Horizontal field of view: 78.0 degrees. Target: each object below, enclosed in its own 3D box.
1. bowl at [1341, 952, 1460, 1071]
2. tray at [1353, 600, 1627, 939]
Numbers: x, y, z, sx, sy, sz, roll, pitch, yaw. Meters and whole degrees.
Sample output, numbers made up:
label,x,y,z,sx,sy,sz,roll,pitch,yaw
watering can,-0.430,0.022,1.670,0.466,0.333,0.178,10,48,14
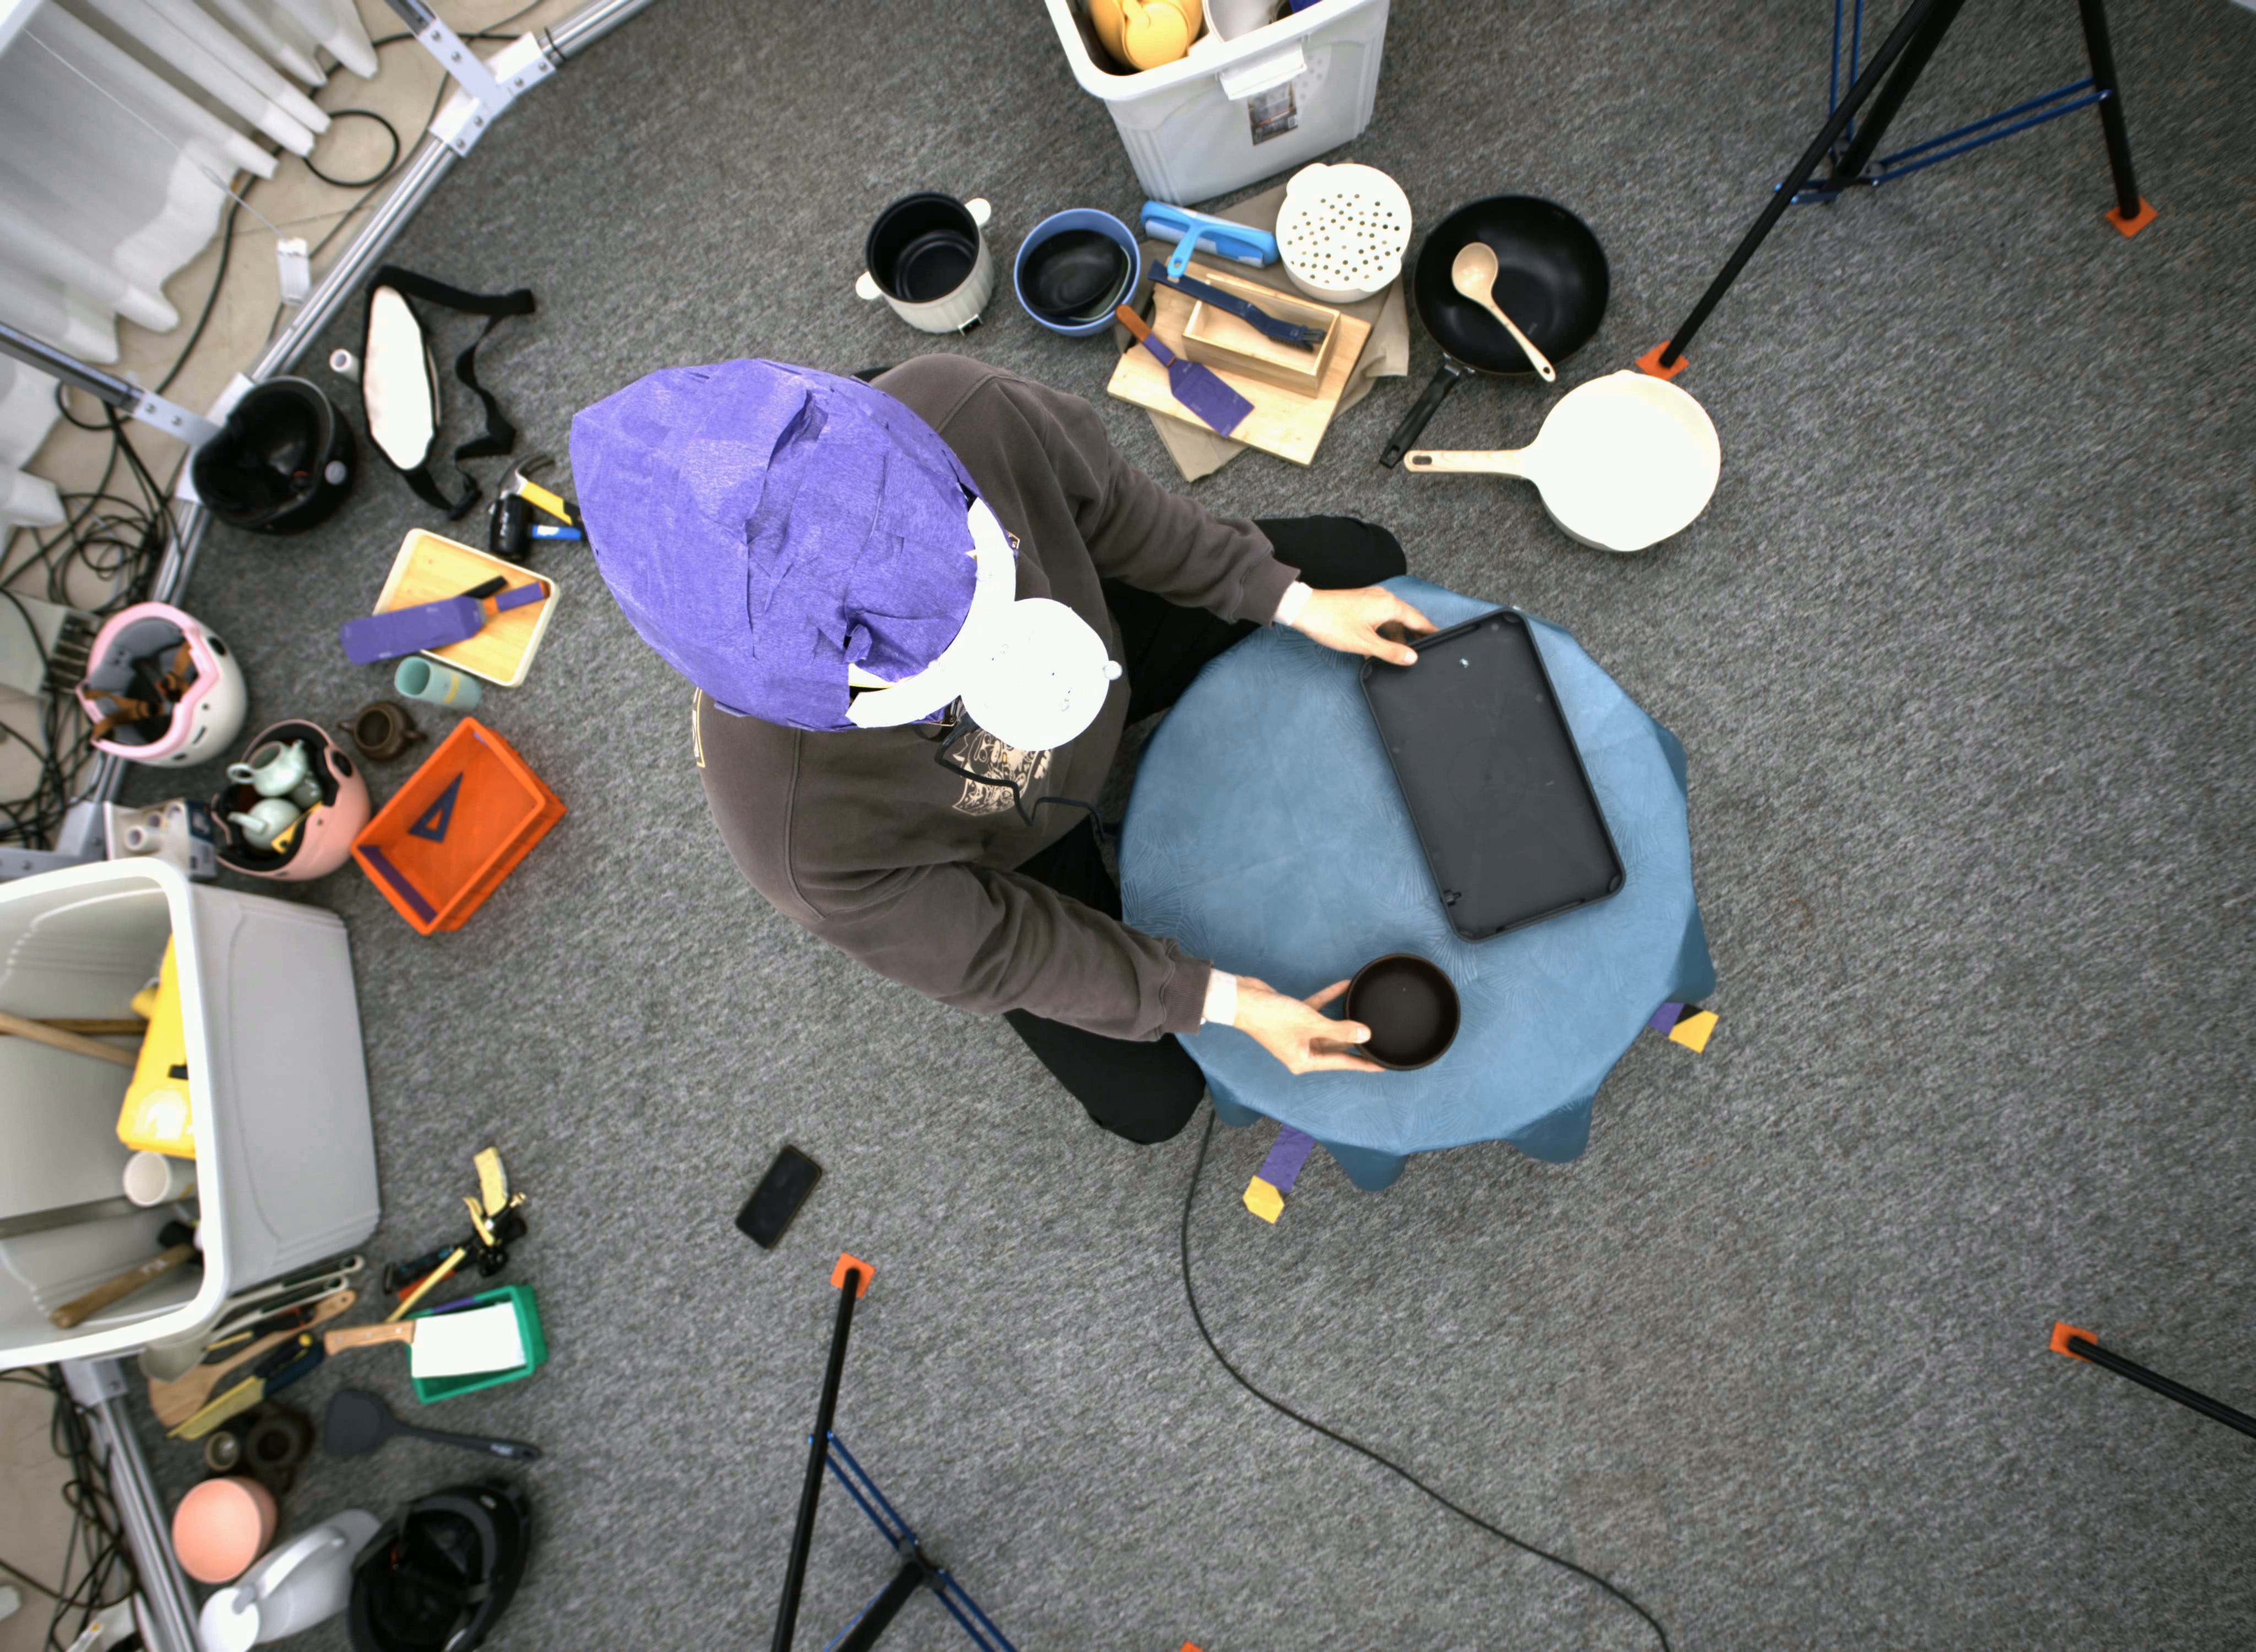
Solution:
label,x,y,z,sx,sy,sz,roll,pitch,yaw
bowl,0.275,0.188,1.406,0.118,0.070,0.117,-1,81,7
tray,0.372,-0.060,1.419,0.185,0.037,0.317,-22,87,10
